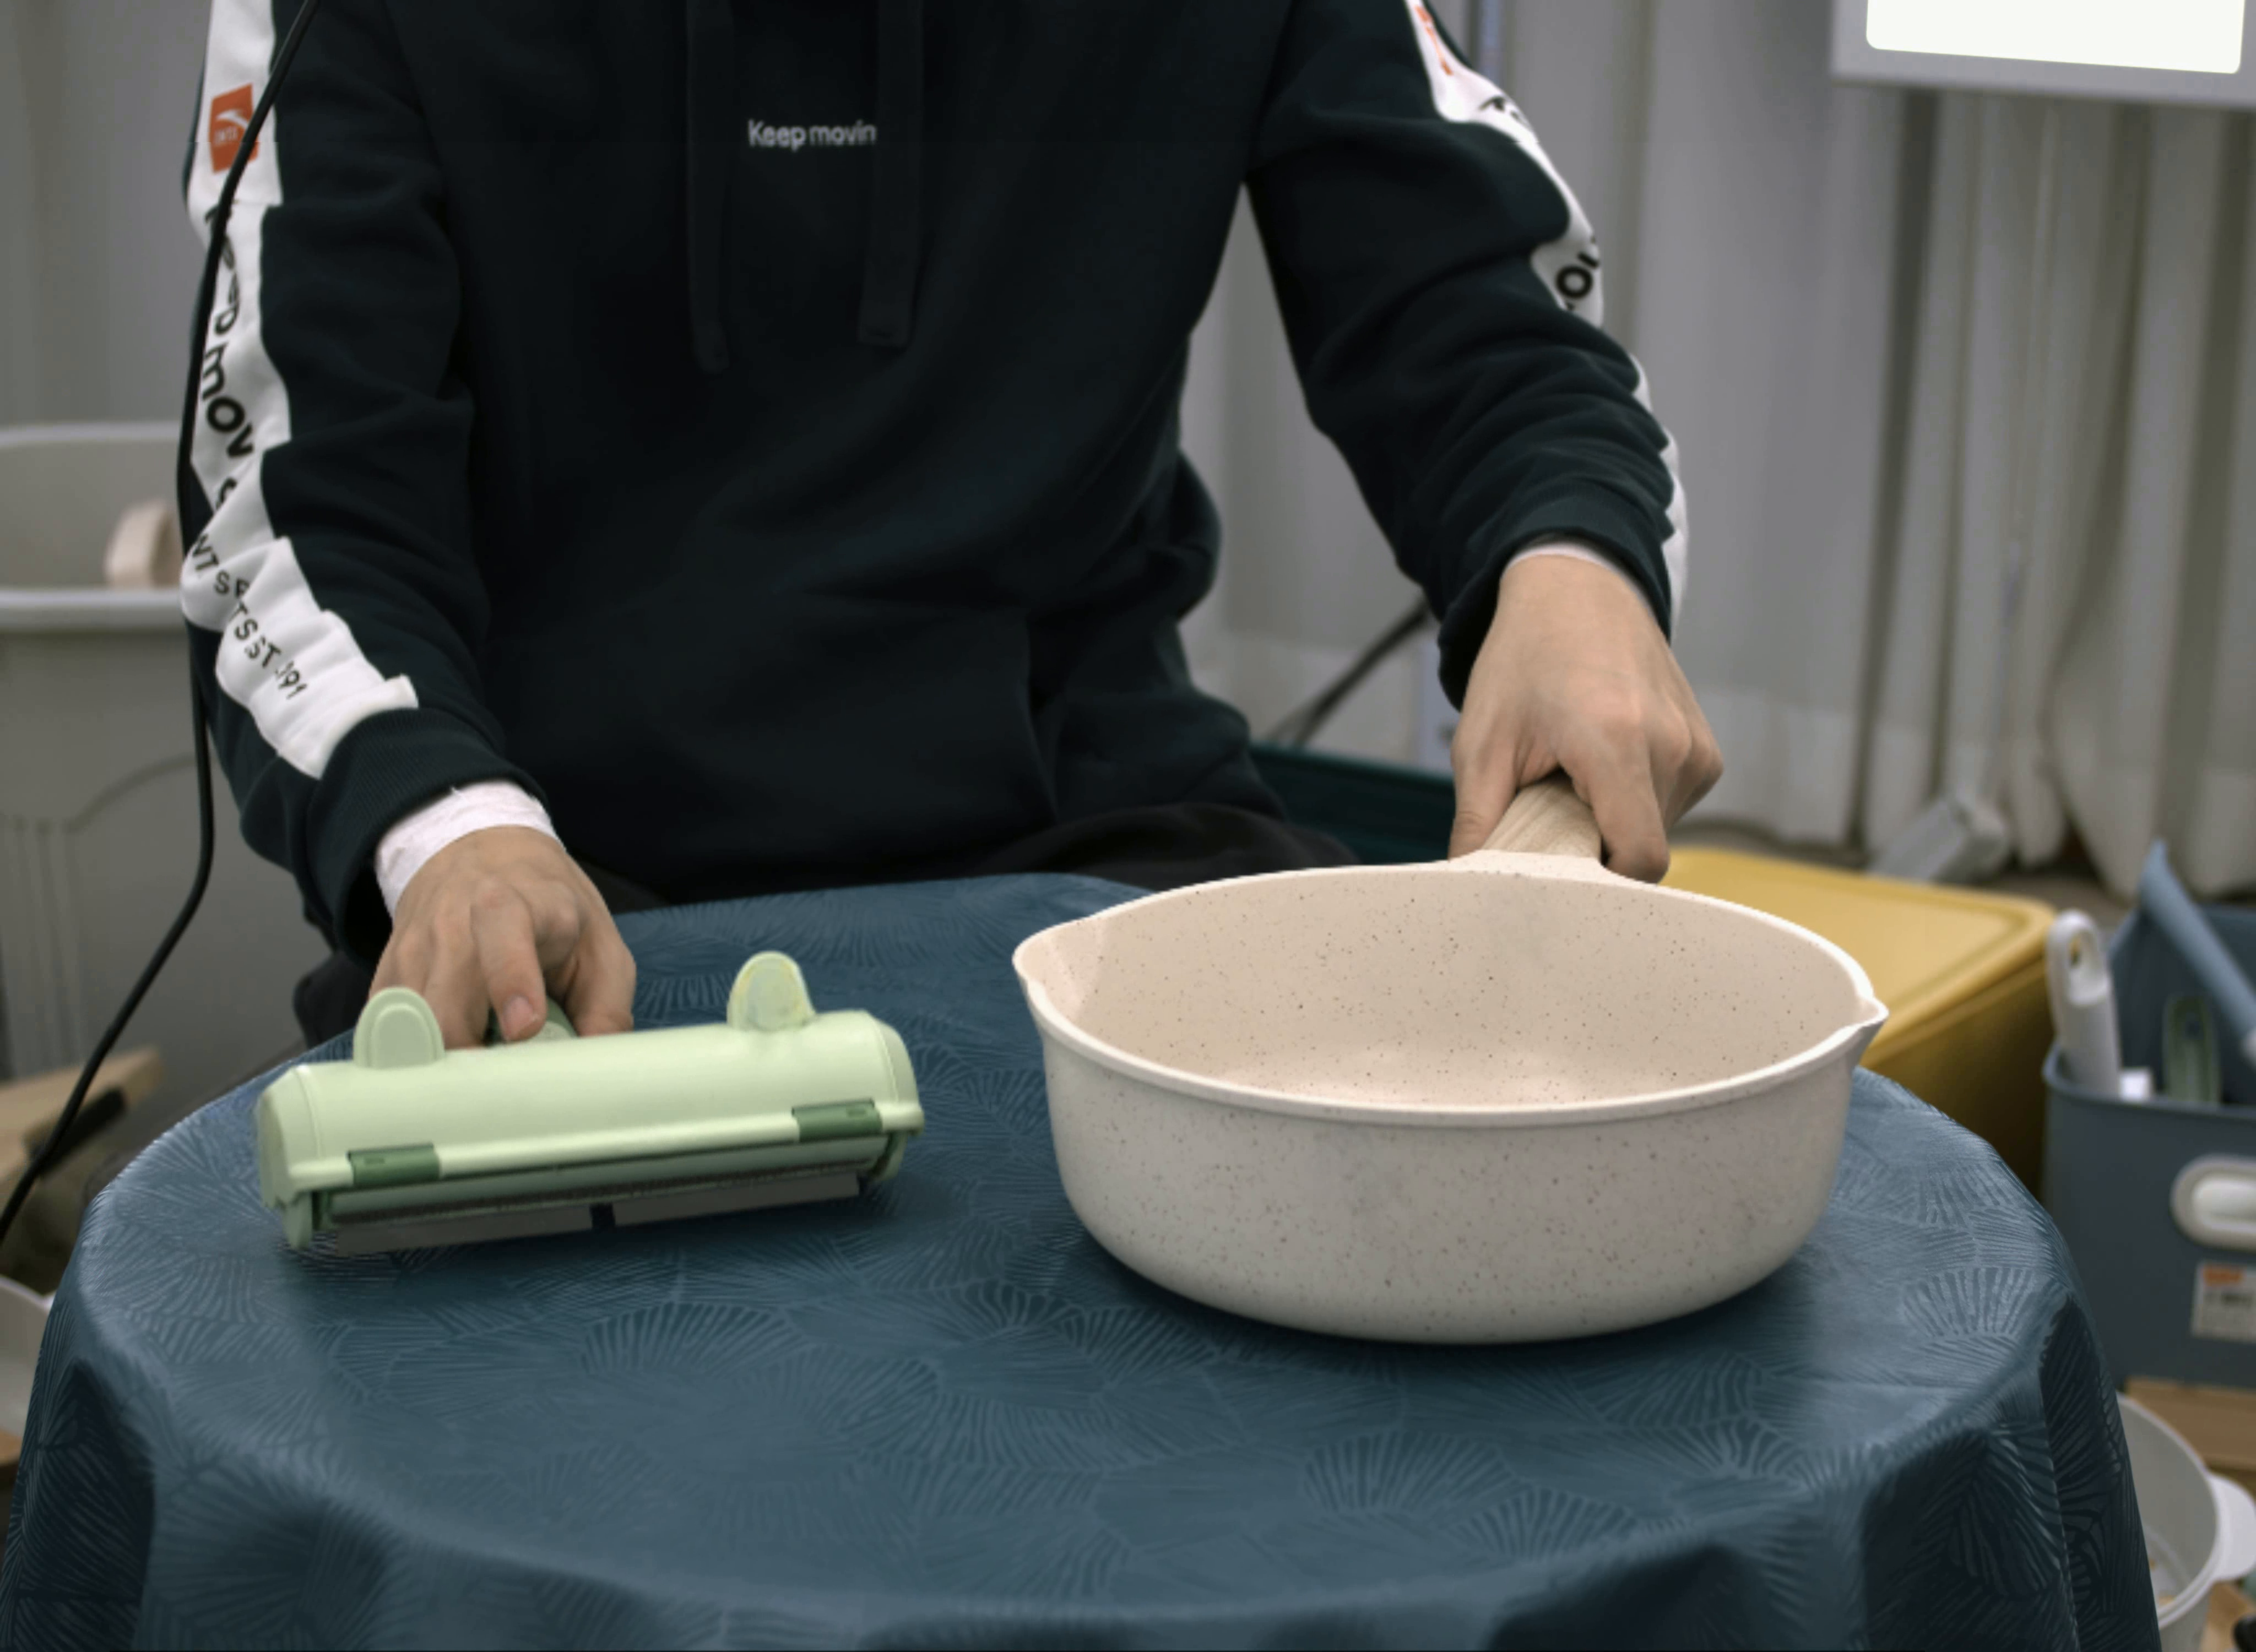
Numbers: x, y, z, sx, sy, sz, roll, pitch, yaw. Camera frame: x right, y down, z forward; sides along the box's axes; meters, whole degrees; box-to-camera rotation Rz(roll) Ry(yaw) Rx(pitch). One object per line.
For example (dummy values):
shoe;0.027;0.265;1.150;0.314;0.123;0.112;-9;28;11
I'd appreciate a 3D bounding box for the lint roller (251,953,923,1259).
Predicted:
lint roller;-0.180;0.062;1.621;0.199;0.083;0.181;-5;27;-20

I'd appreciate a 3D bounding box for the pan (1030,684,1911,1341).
pan;0.122;0.053;1.650;0.261;0.103;0.434;3;15;13
